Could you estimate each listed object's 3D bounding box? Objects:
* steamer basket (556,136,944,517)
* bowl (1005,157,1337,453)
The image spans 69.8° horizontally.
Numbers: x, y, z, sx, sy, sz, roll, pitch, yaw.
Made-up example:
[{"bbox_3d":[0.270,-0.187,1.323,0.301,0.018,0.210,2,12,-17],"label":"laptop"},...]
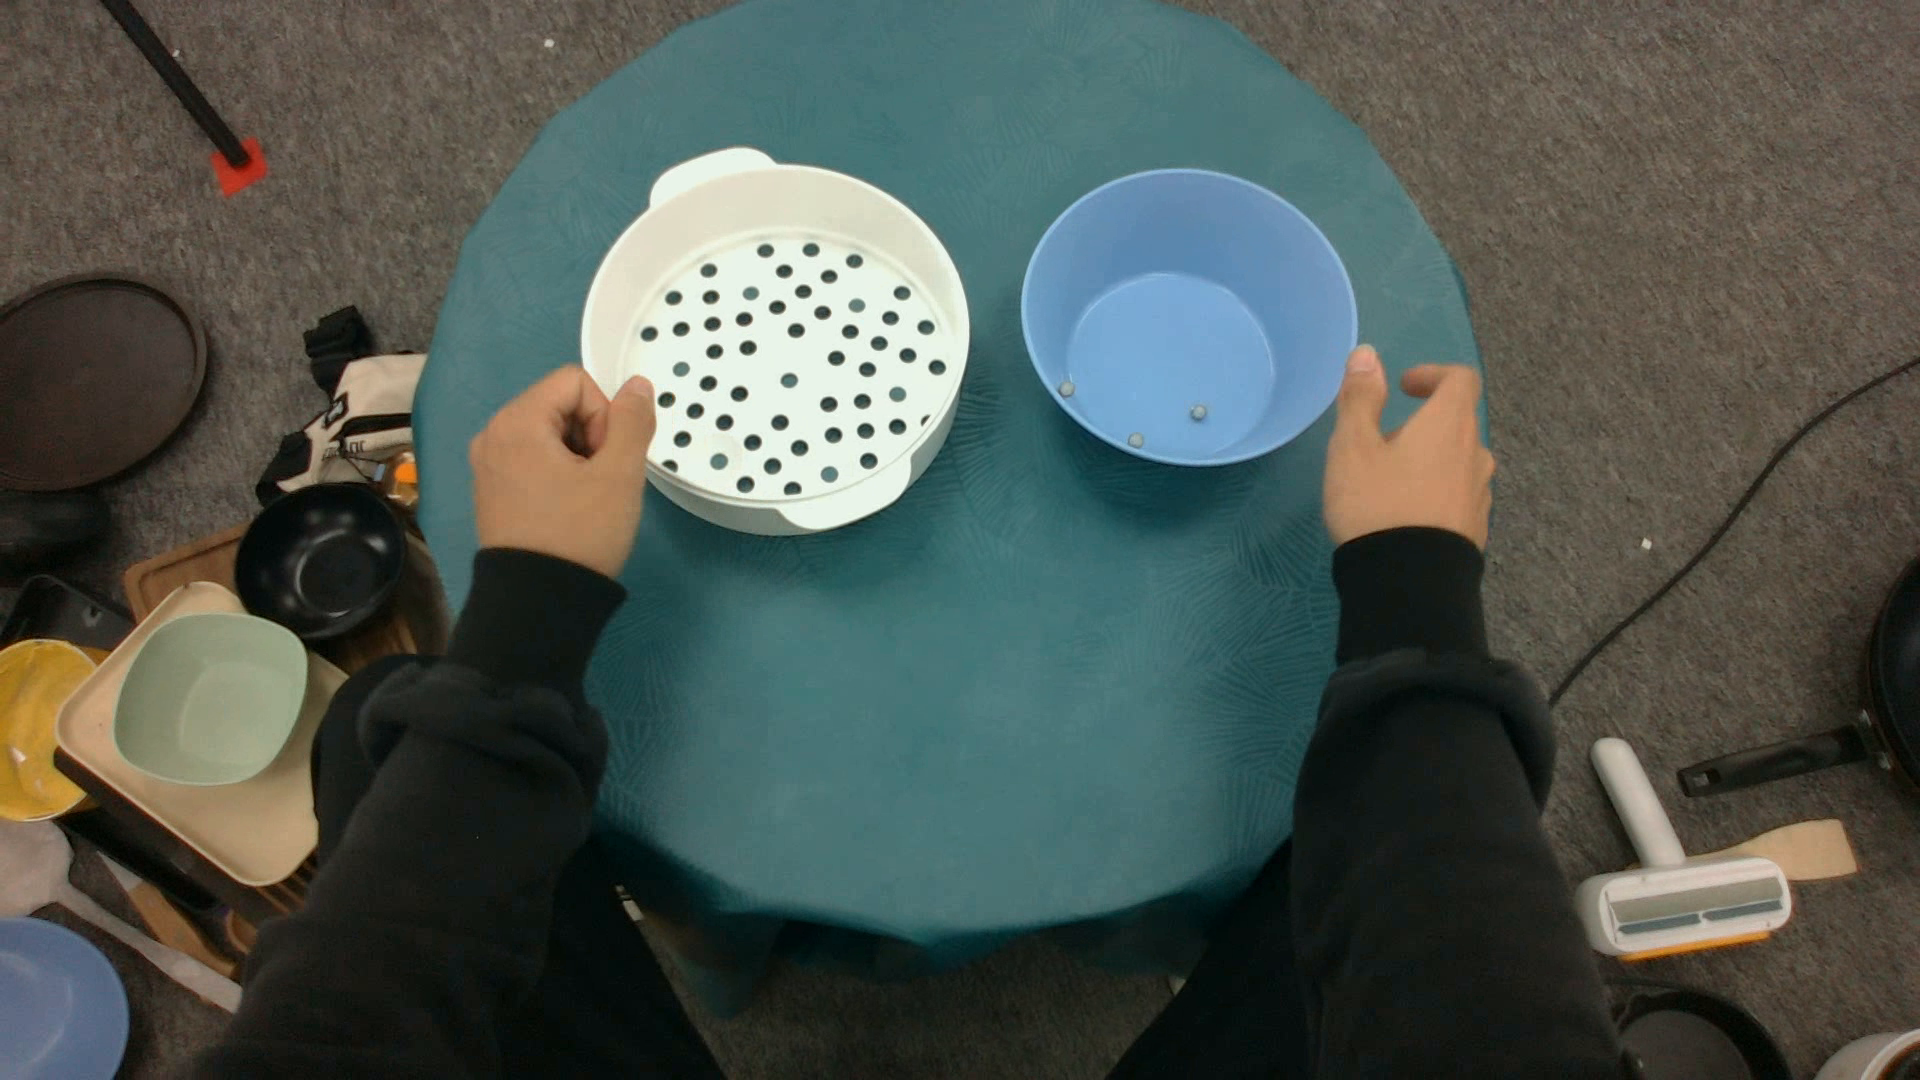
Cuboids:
[{"bbox_3d":[-0.110,-0.110,0.744,0.202,0.069,0.231,-23,70,-10],"label":"steamer basket"},{"bbox_3d":[0.111,-0.117,0.753,0.176,0.070,0.176,0,70,-1],"label":"bowl"}]
